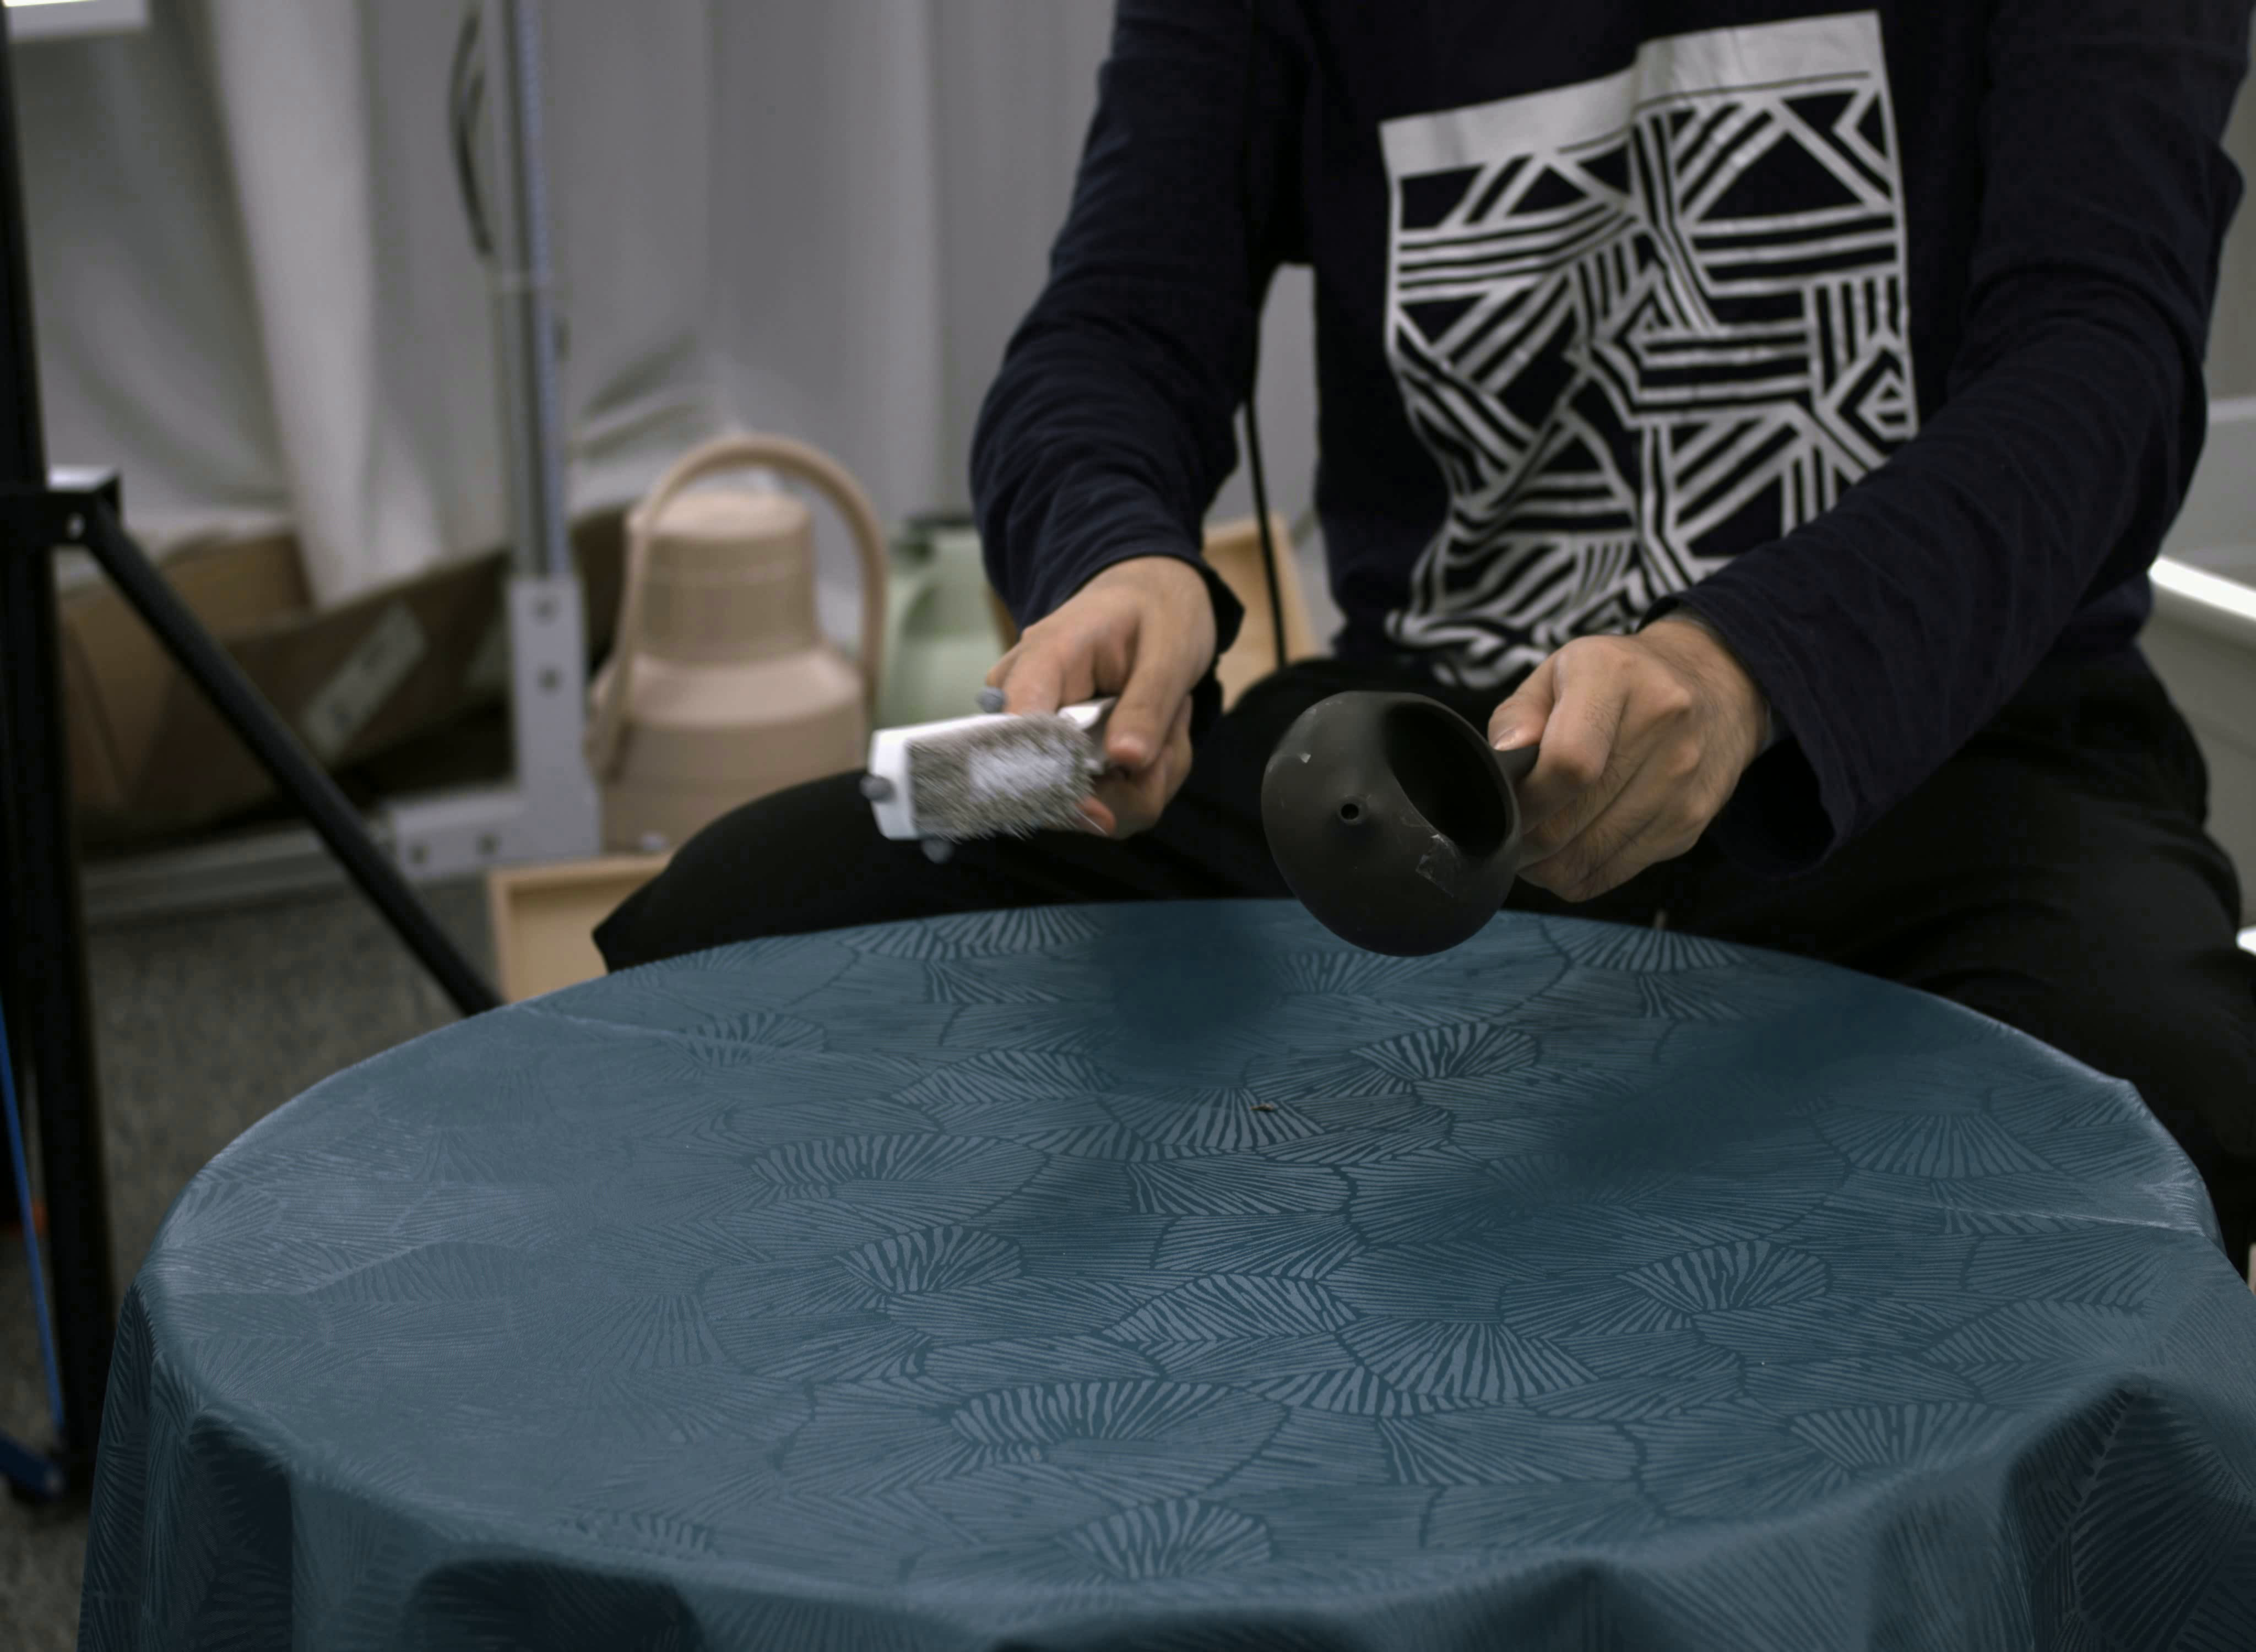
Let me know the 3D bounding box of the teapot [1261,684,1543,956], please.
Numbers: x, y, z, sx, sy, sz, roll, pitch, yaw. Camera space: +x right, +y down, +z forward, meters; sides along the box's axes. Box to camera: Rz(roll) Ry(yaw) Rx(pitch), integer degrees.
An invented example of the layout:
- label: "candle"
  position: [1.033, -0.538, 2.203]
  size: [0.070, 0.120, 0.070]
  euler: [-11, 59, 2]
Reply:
- label: "teapot"
  position: [0.086, -0.004, 1.569]
  size: [0.111, 0.084, 0.053]
  euler: [-13, -22, -49]

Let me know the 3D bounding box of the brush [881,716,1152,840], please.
- label: "brush"
  position: [-0.015, -0.018, 1.670]
  size: [0.051, 0.034, 0.240]
  euler: [5, 4, 19]
